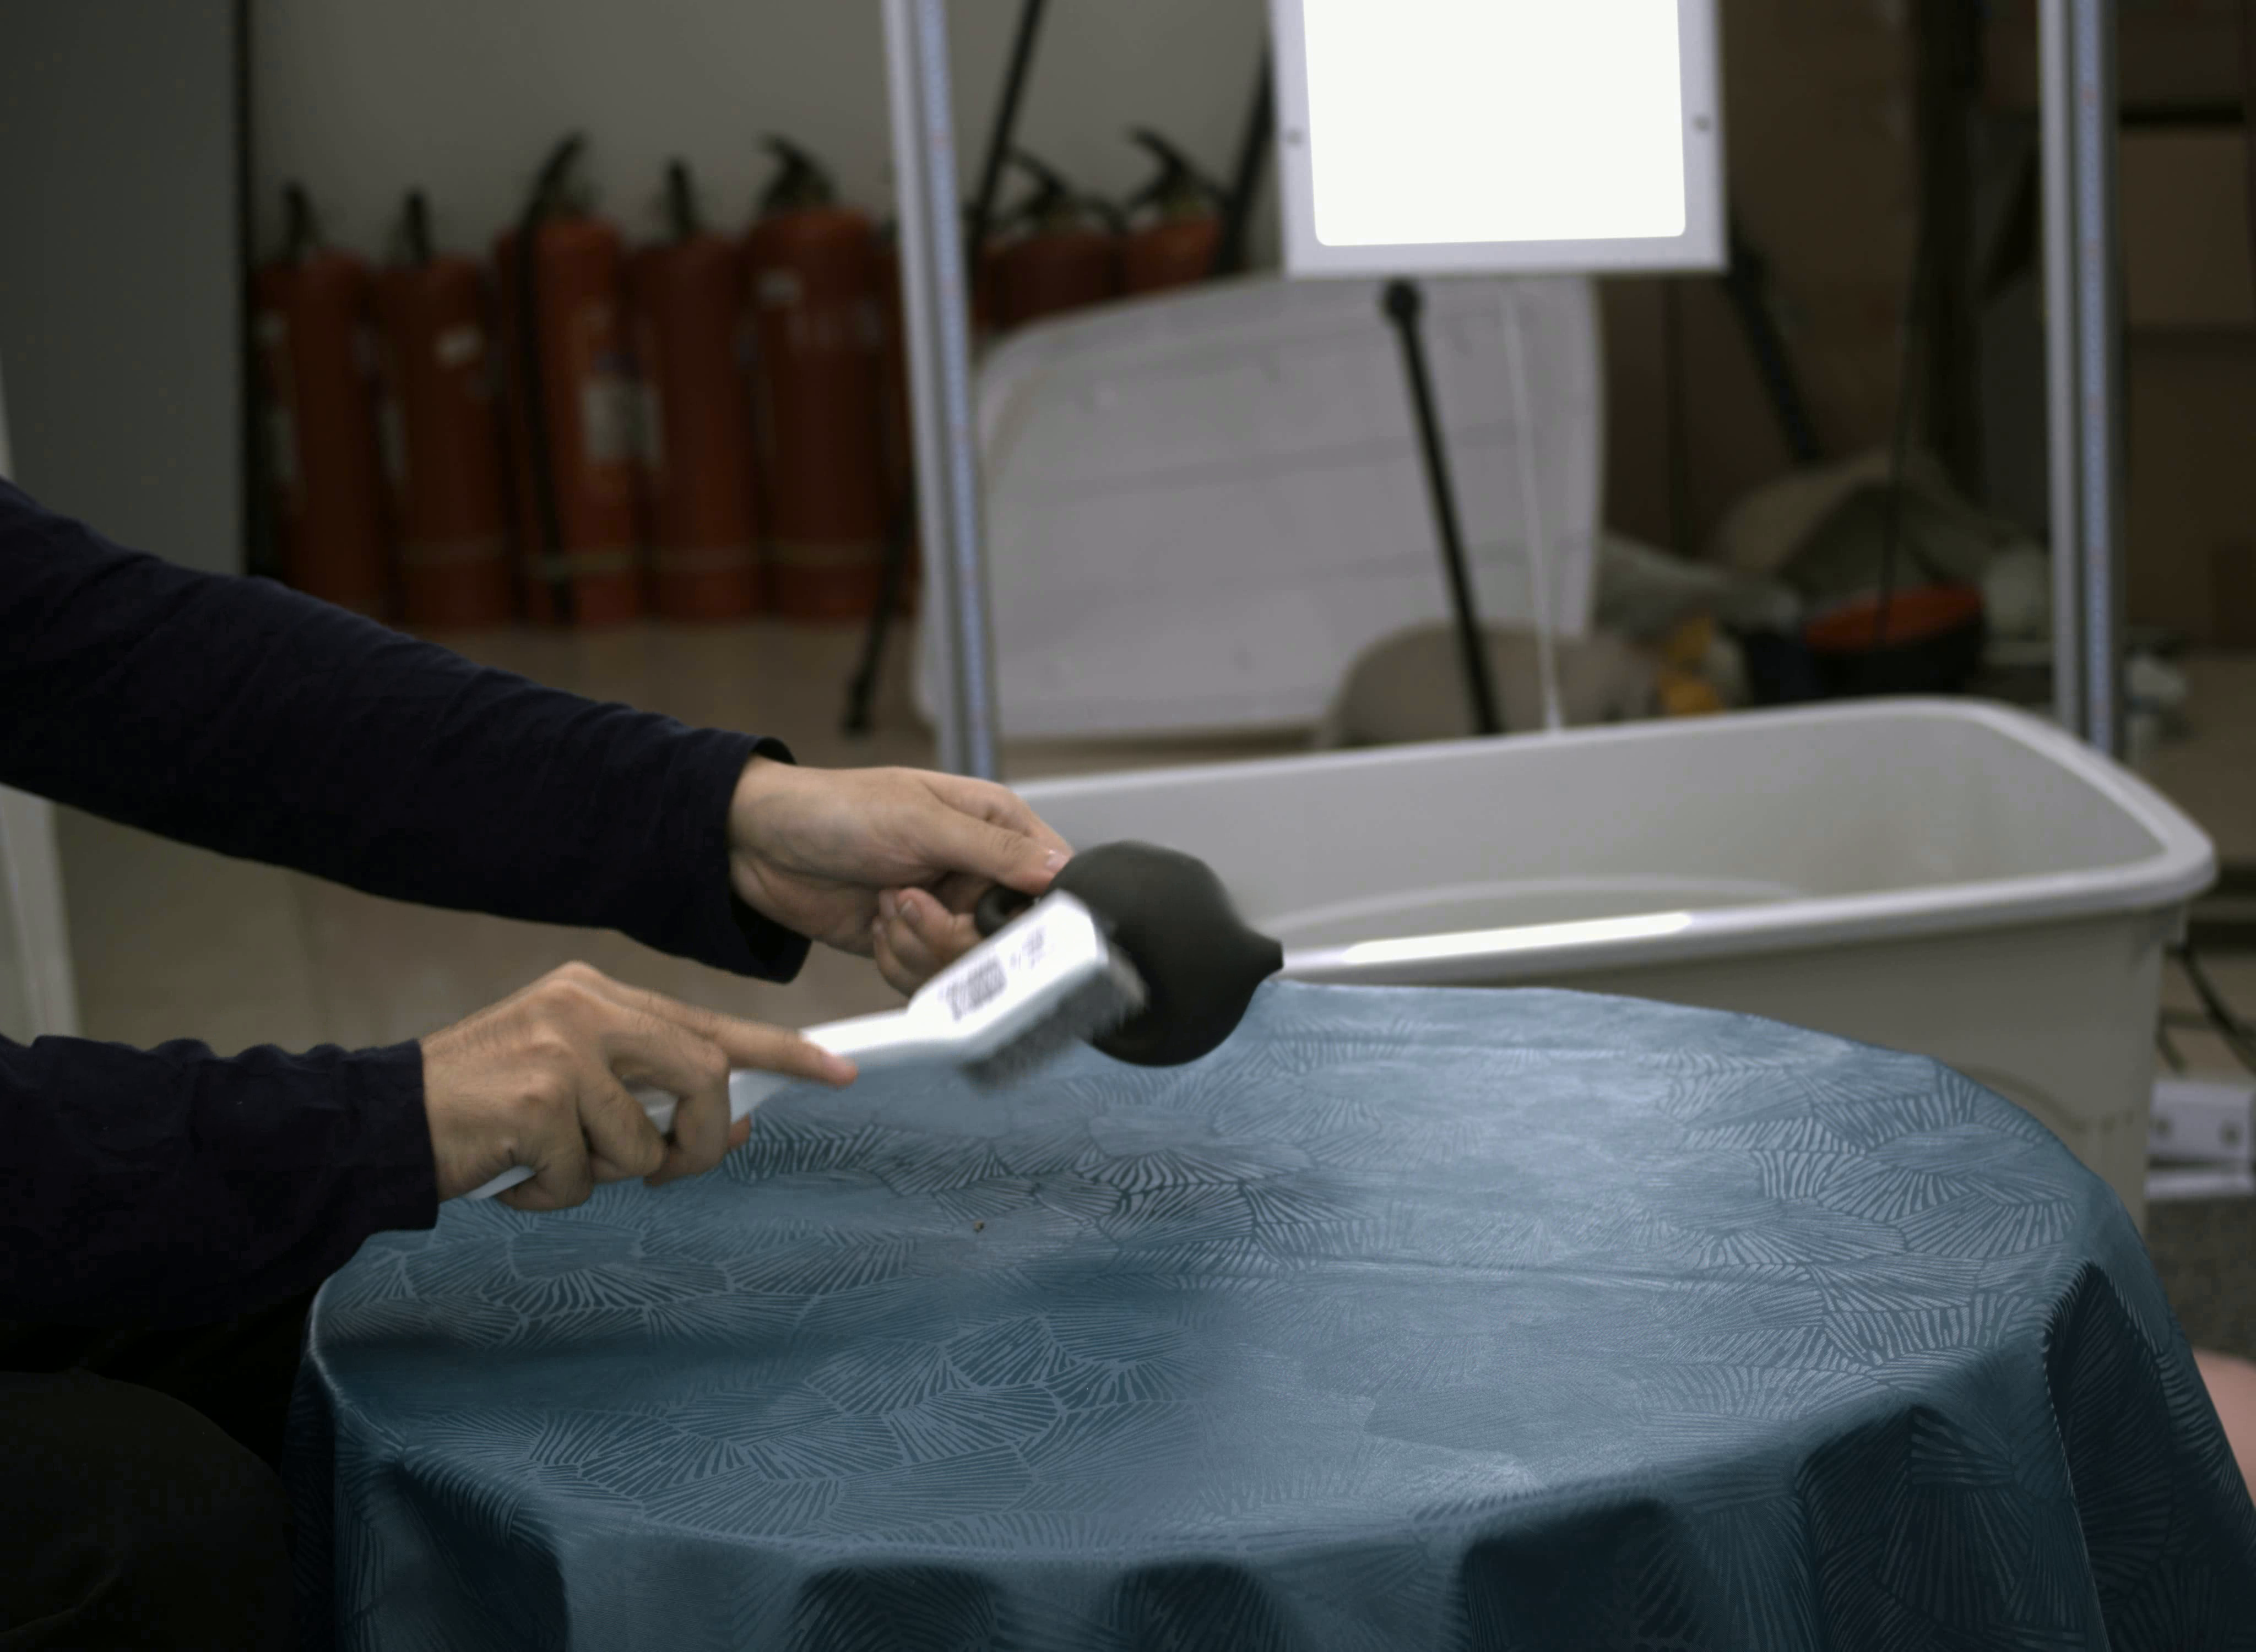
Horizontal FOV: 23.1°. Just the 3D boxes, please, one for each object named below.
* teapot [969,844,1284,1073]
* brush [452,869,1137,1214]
[{"bbox_3d":[-0.004,0.041,1.900,0.116,0.083,0.052,18,44,33],"label":"teapot"},{"bbox_3d":[-0.108,0.083,1.818,0.240,0.050,0.035,-25,48,-13],"label":"brush"}]
